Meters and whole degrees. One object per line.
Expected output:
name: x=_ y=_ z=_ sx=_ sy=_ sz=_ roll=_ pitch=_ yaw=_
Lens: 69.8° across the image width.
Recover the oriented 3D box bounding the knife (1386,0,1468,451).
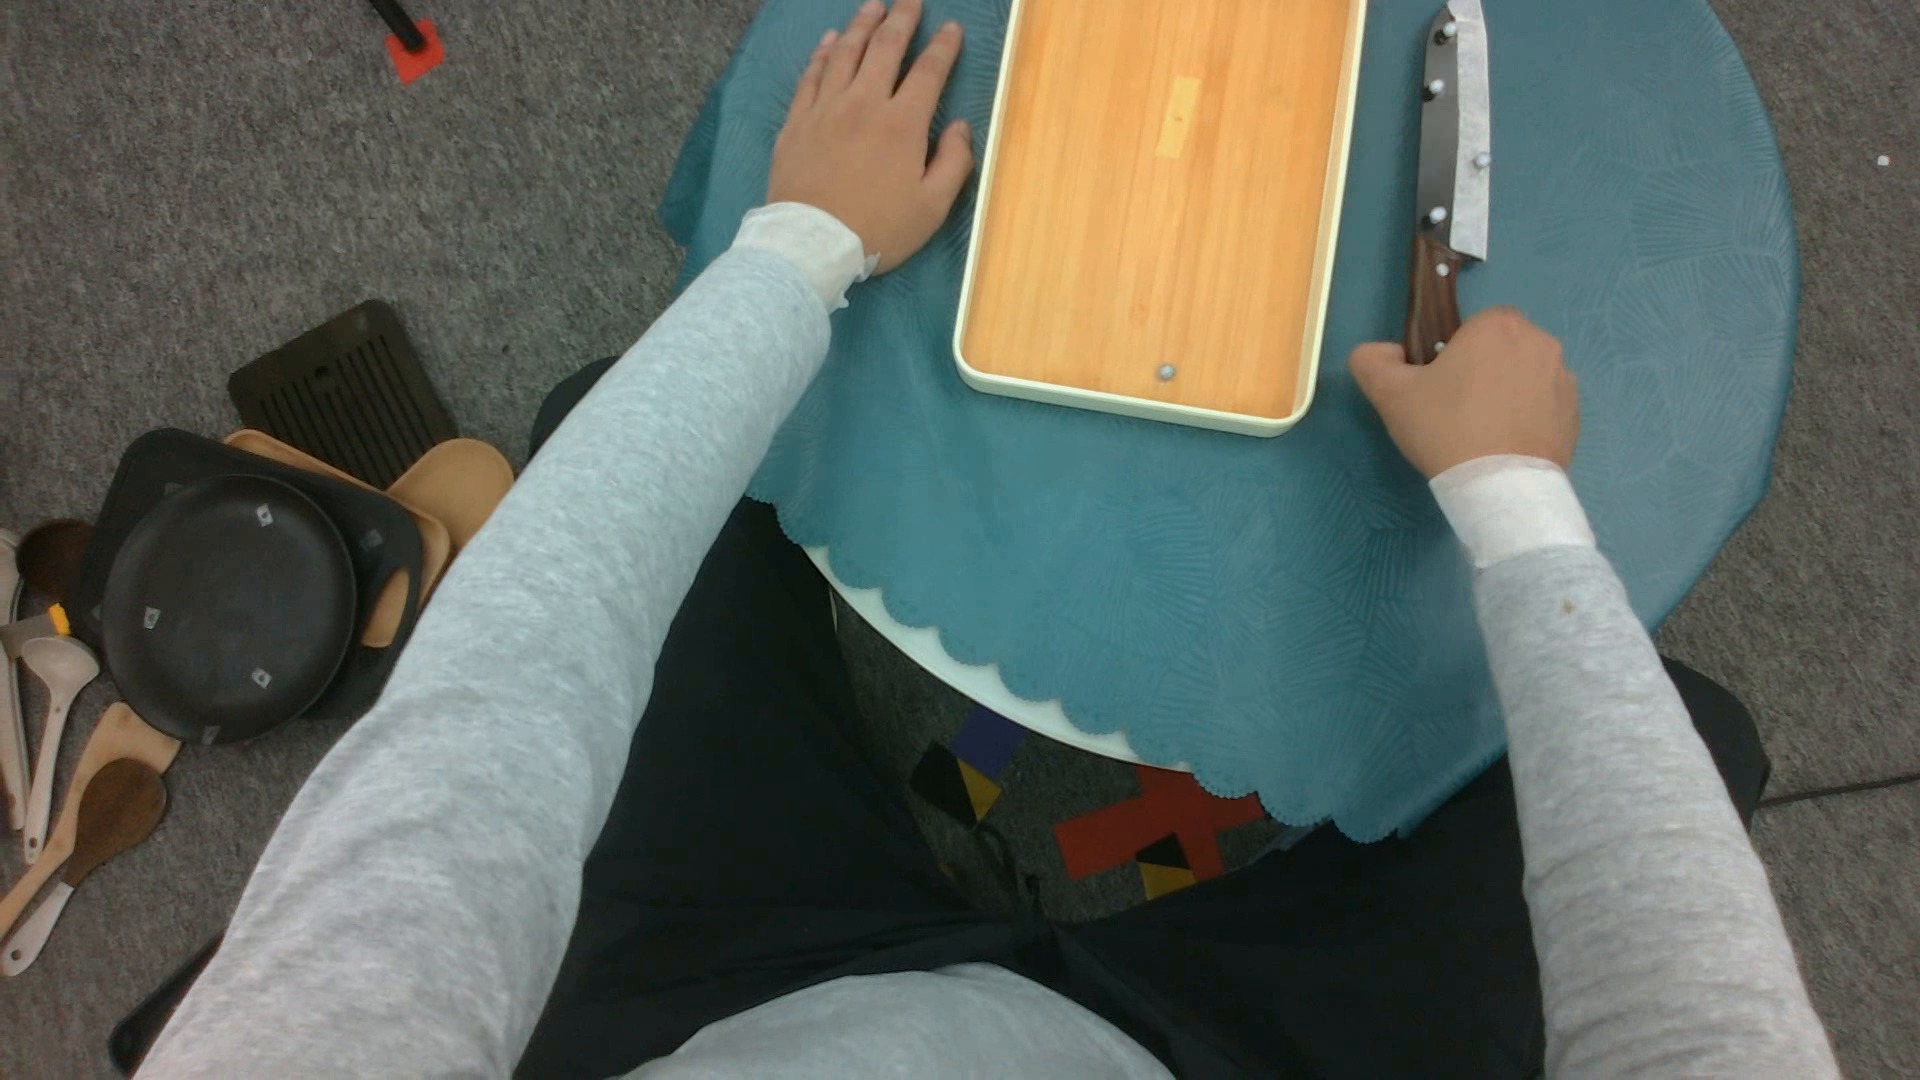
knife: x=0.254 y=-0.181 z=0.743 sx=0.050 sy=0.020 sz=0.290 roll=15 pitch=73 yaw=-19

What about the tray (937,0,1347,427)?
tray: x=0.103 y=-0.219 z=0.753 sx=0.191 sy=0.027 sz=0.301 roll=9 pitch=79 yaw=2
